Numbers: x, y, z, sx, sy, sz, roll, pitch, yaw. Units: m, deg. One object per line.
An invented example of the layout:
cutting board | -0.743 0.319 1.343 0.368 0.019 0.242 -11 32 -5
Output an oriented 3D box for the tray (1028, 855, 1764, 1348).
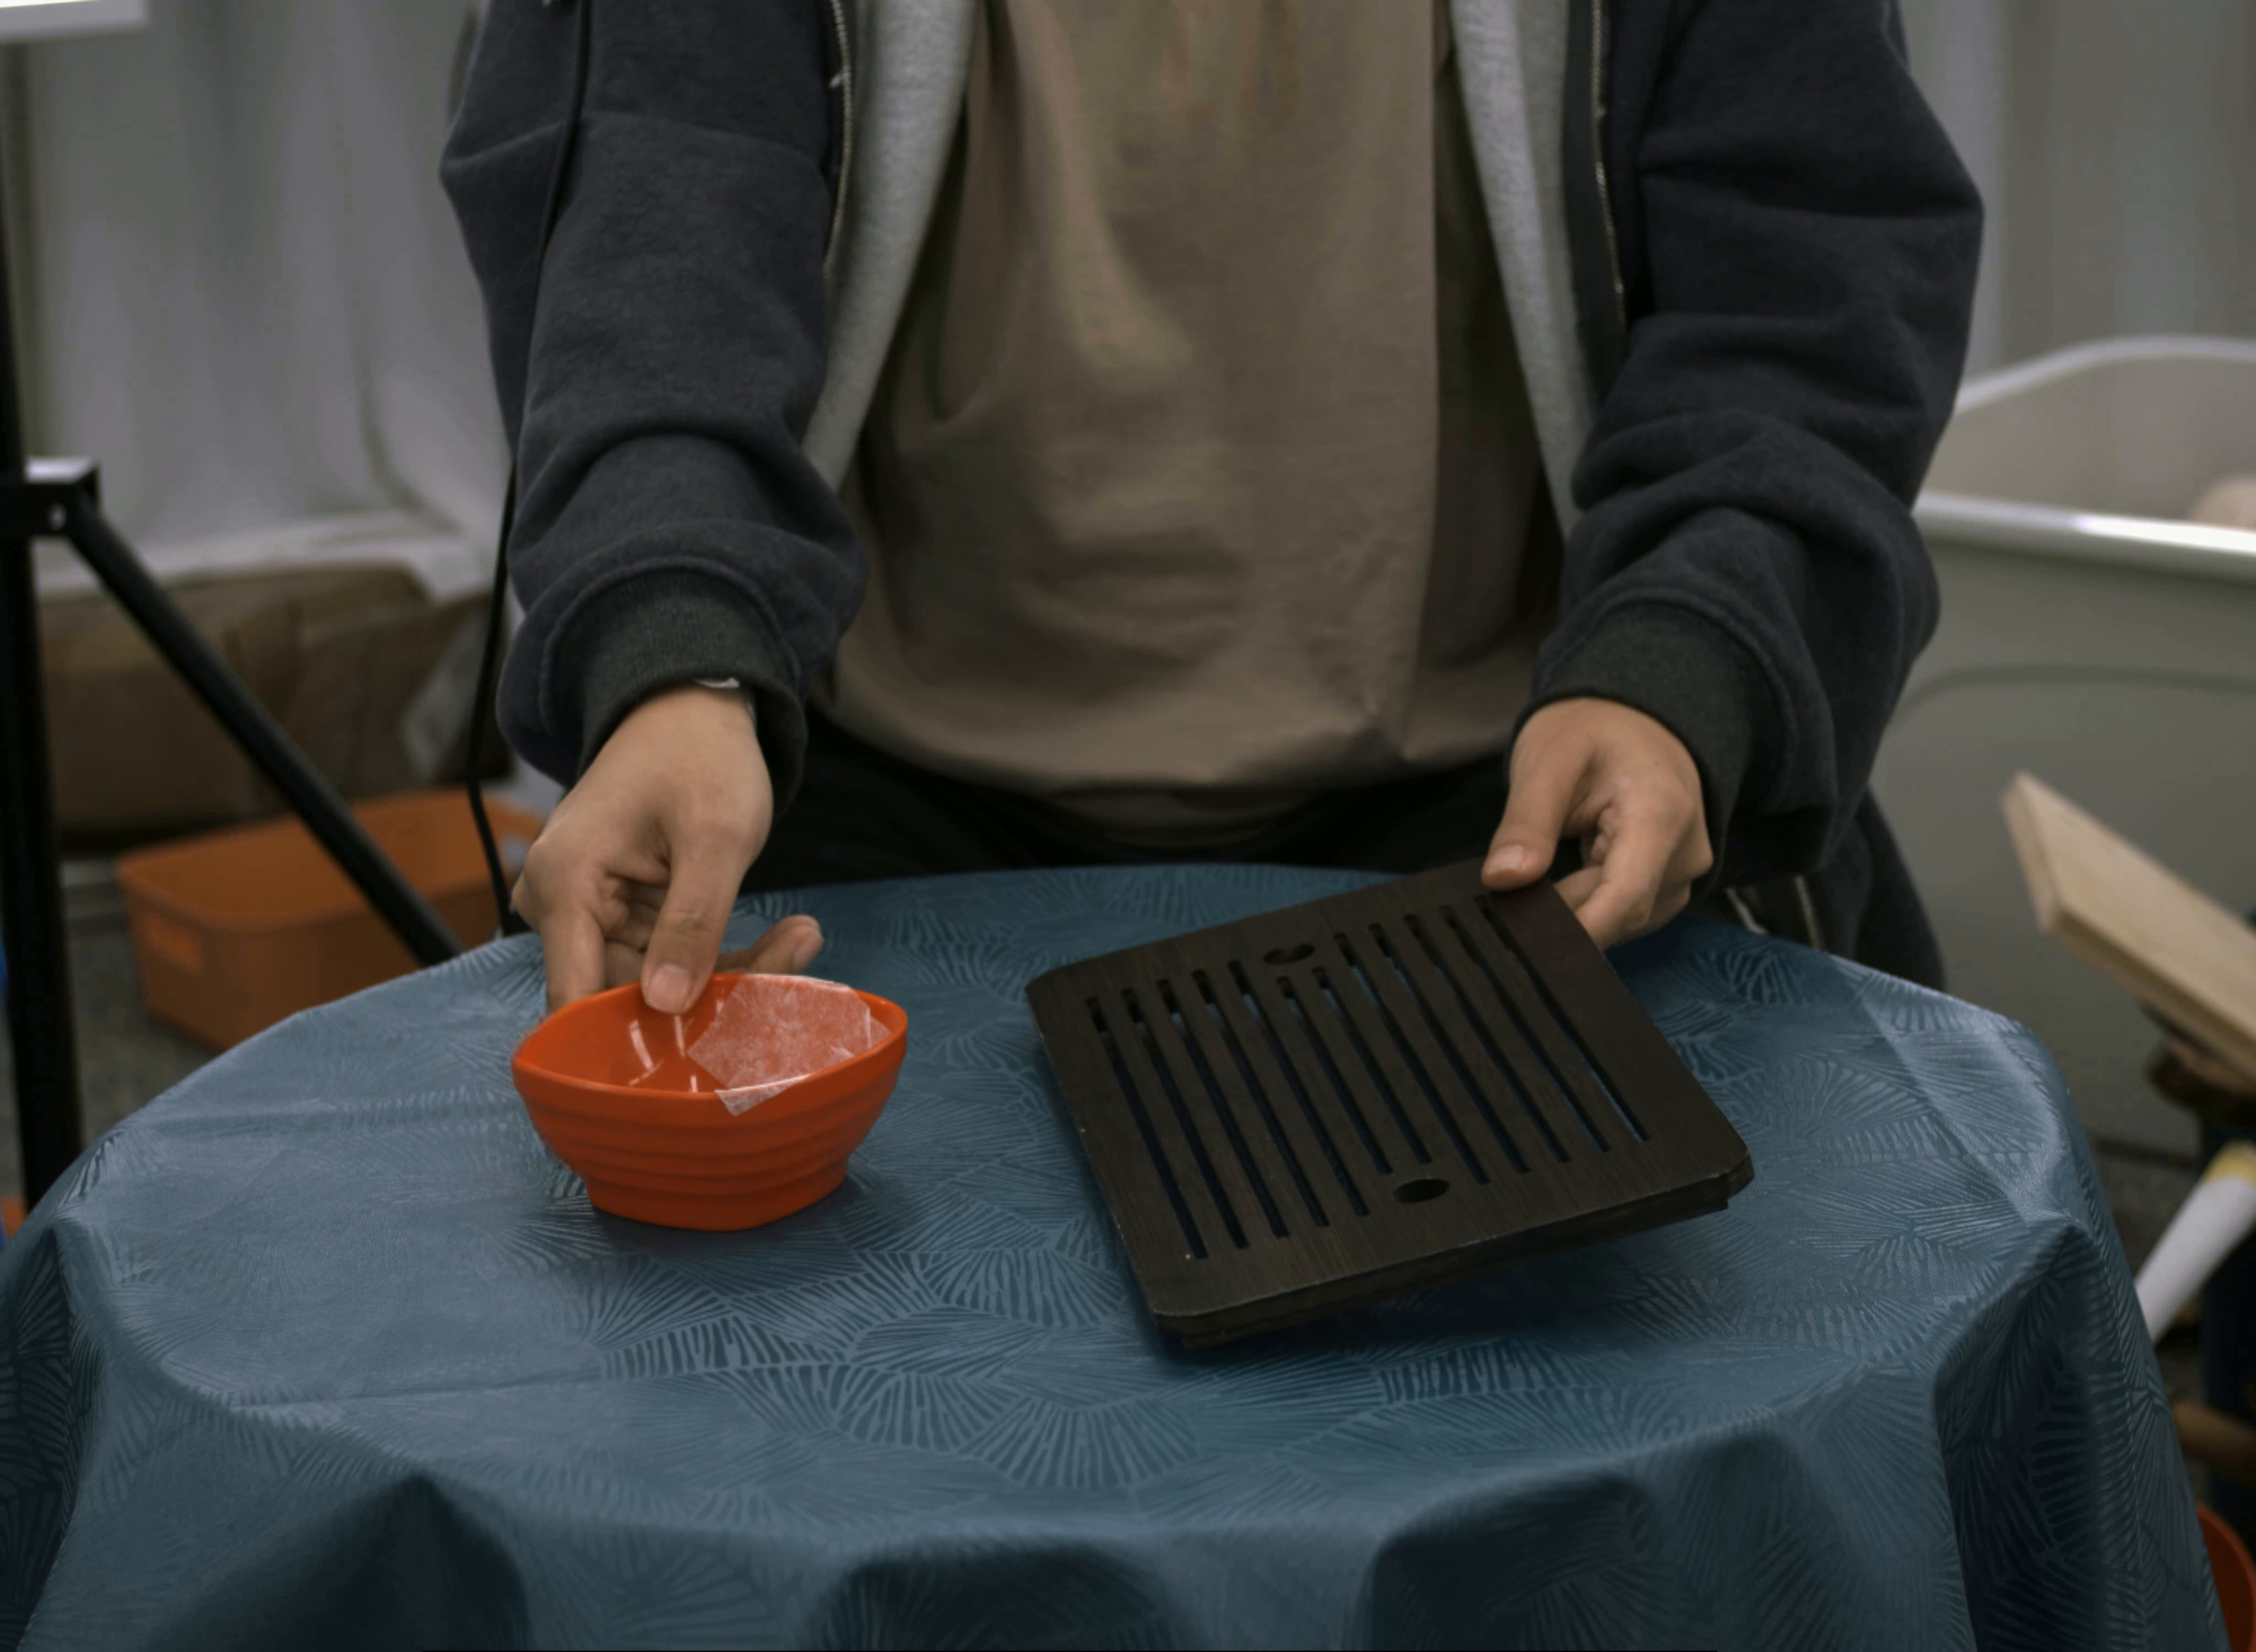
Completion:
tray | 0.071 0.077 1.566 0.169 0.018 0.309 -15 17 -3

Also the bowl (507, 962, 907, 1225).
bowl | -0.122 0.082 1.573 0.118 0.051 0.119 -4 16 0
